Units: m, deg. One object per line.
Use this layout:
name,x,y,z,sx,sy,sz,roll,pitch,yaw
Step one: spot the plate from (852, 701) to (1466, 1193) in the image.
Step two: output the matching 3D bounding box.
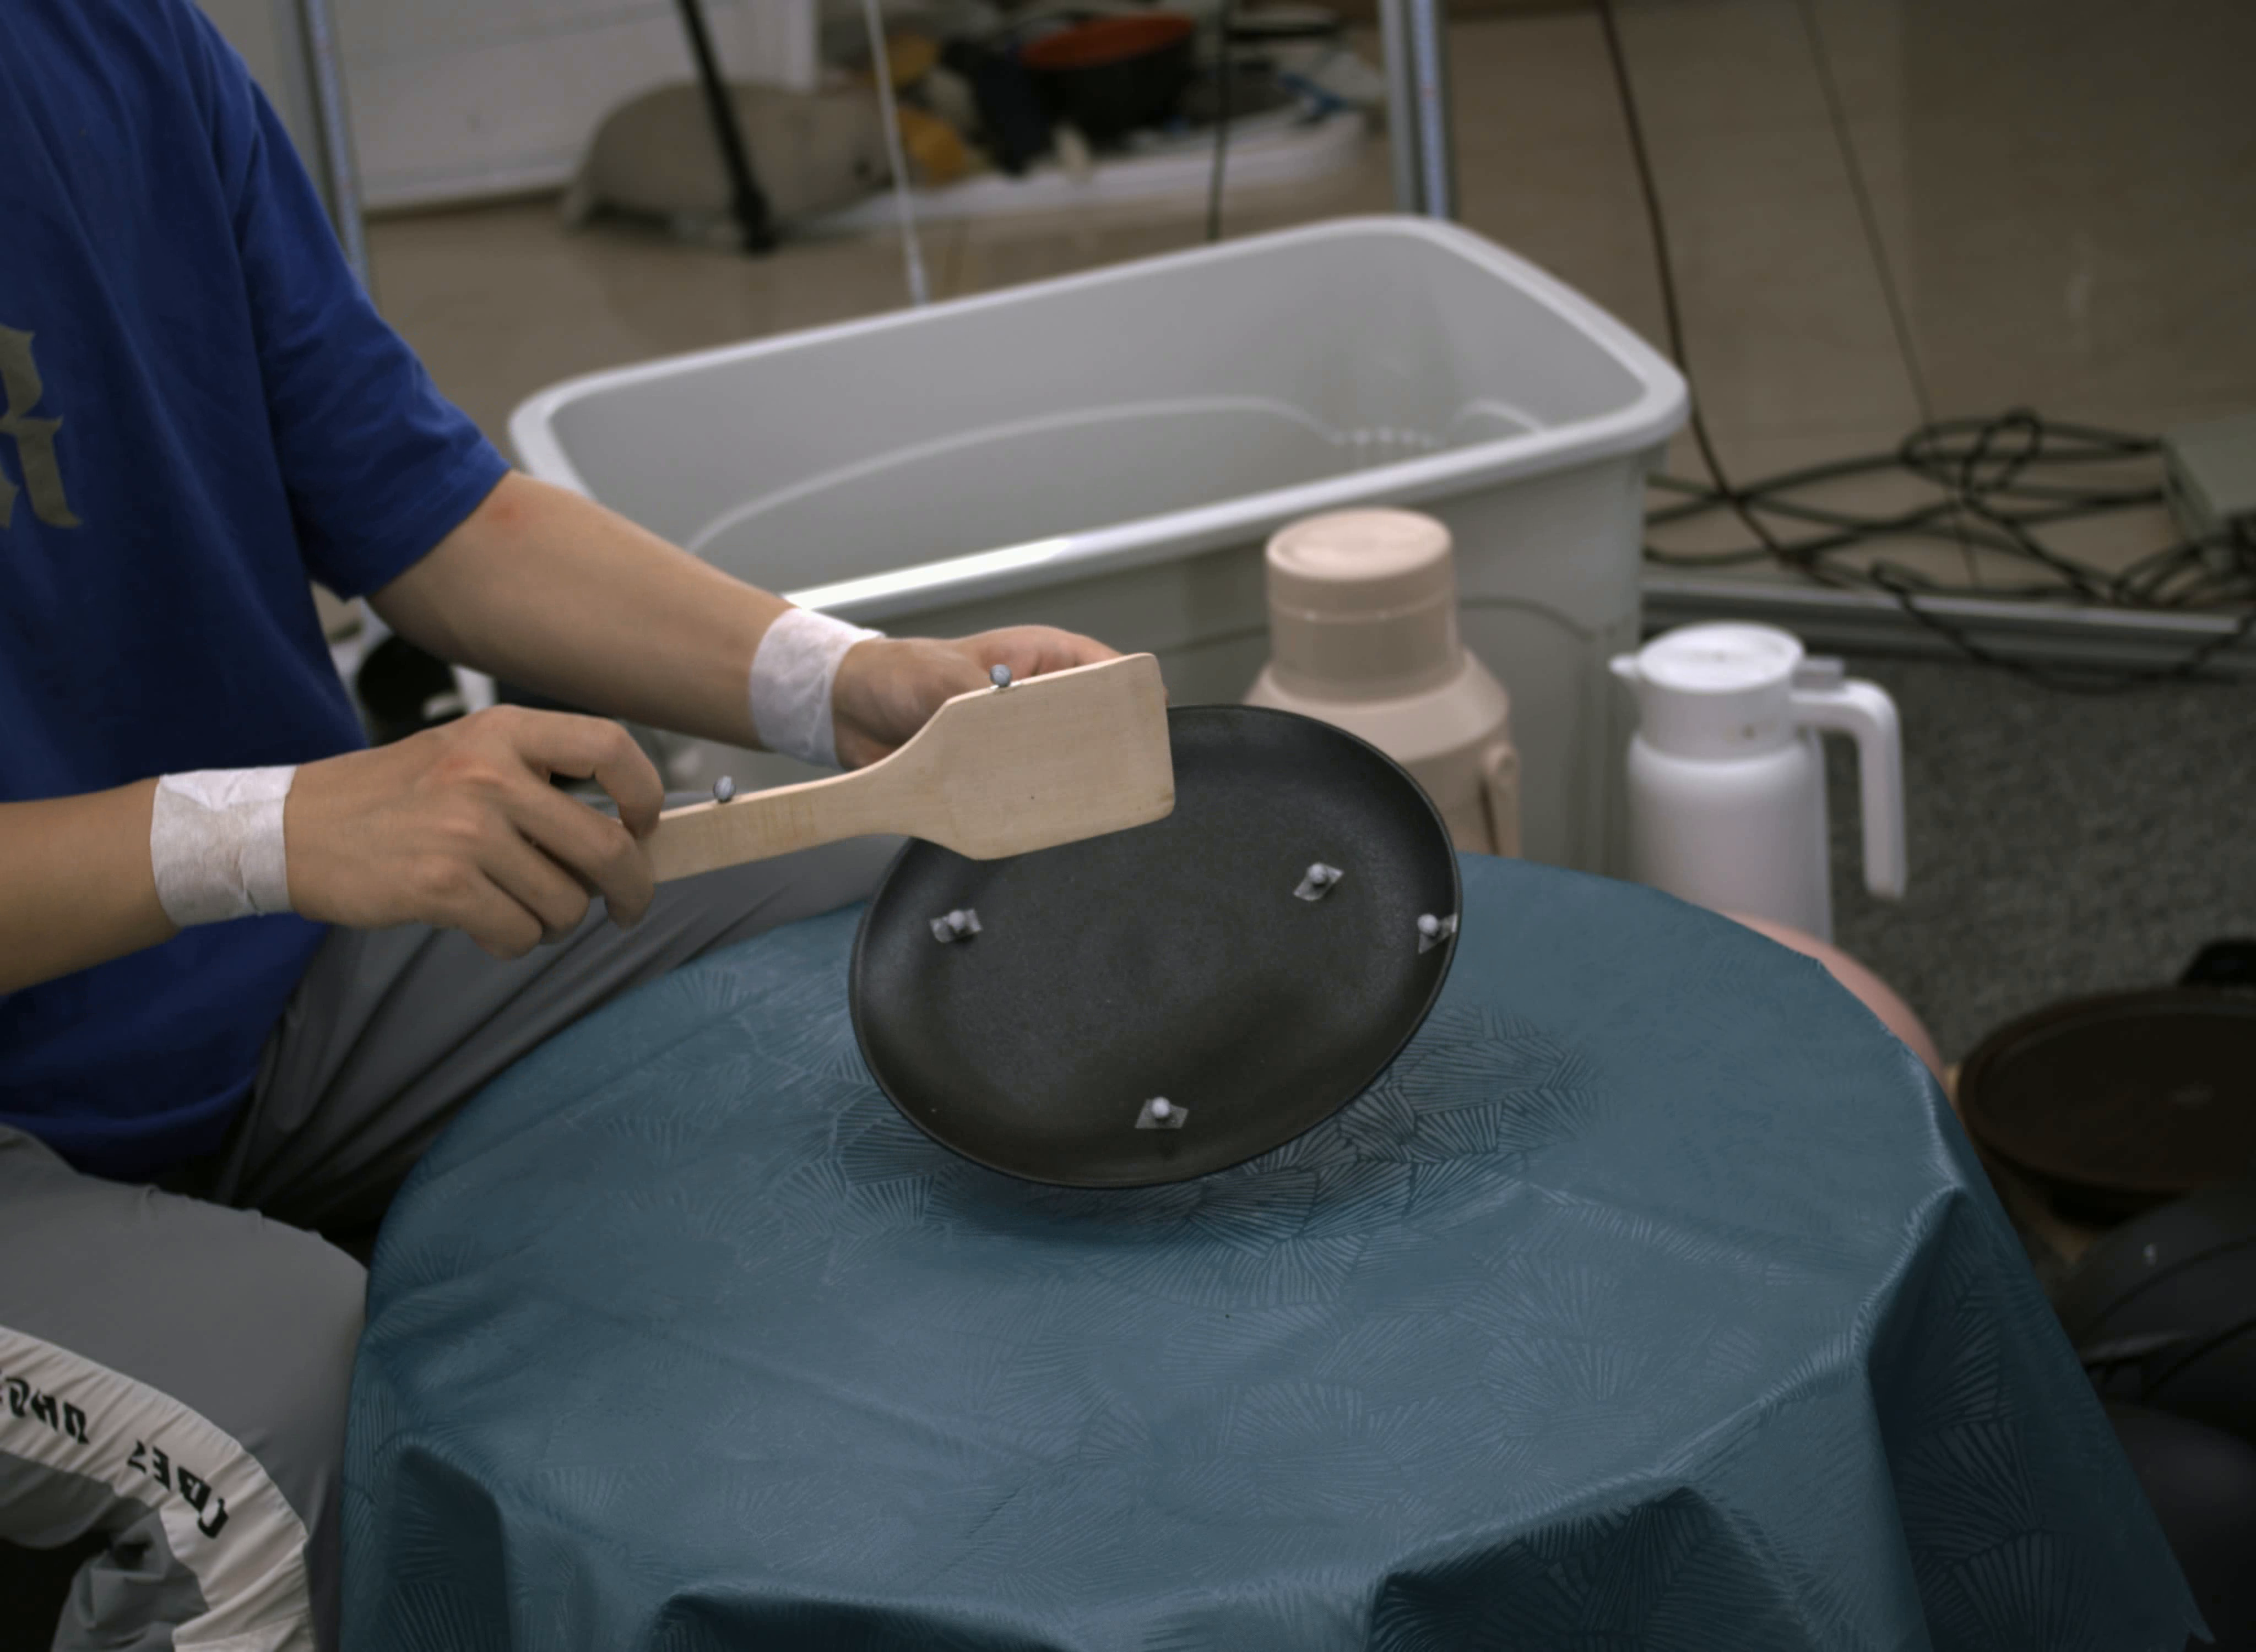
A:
plate,0.013,0.049,2.190,0.244,0.024,0.240,-9,49,10

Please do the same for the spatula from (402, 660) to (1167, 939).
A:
spatula,-0.127,-0.002,2.111,0.292,0.073,0.010,-13,30,-10
